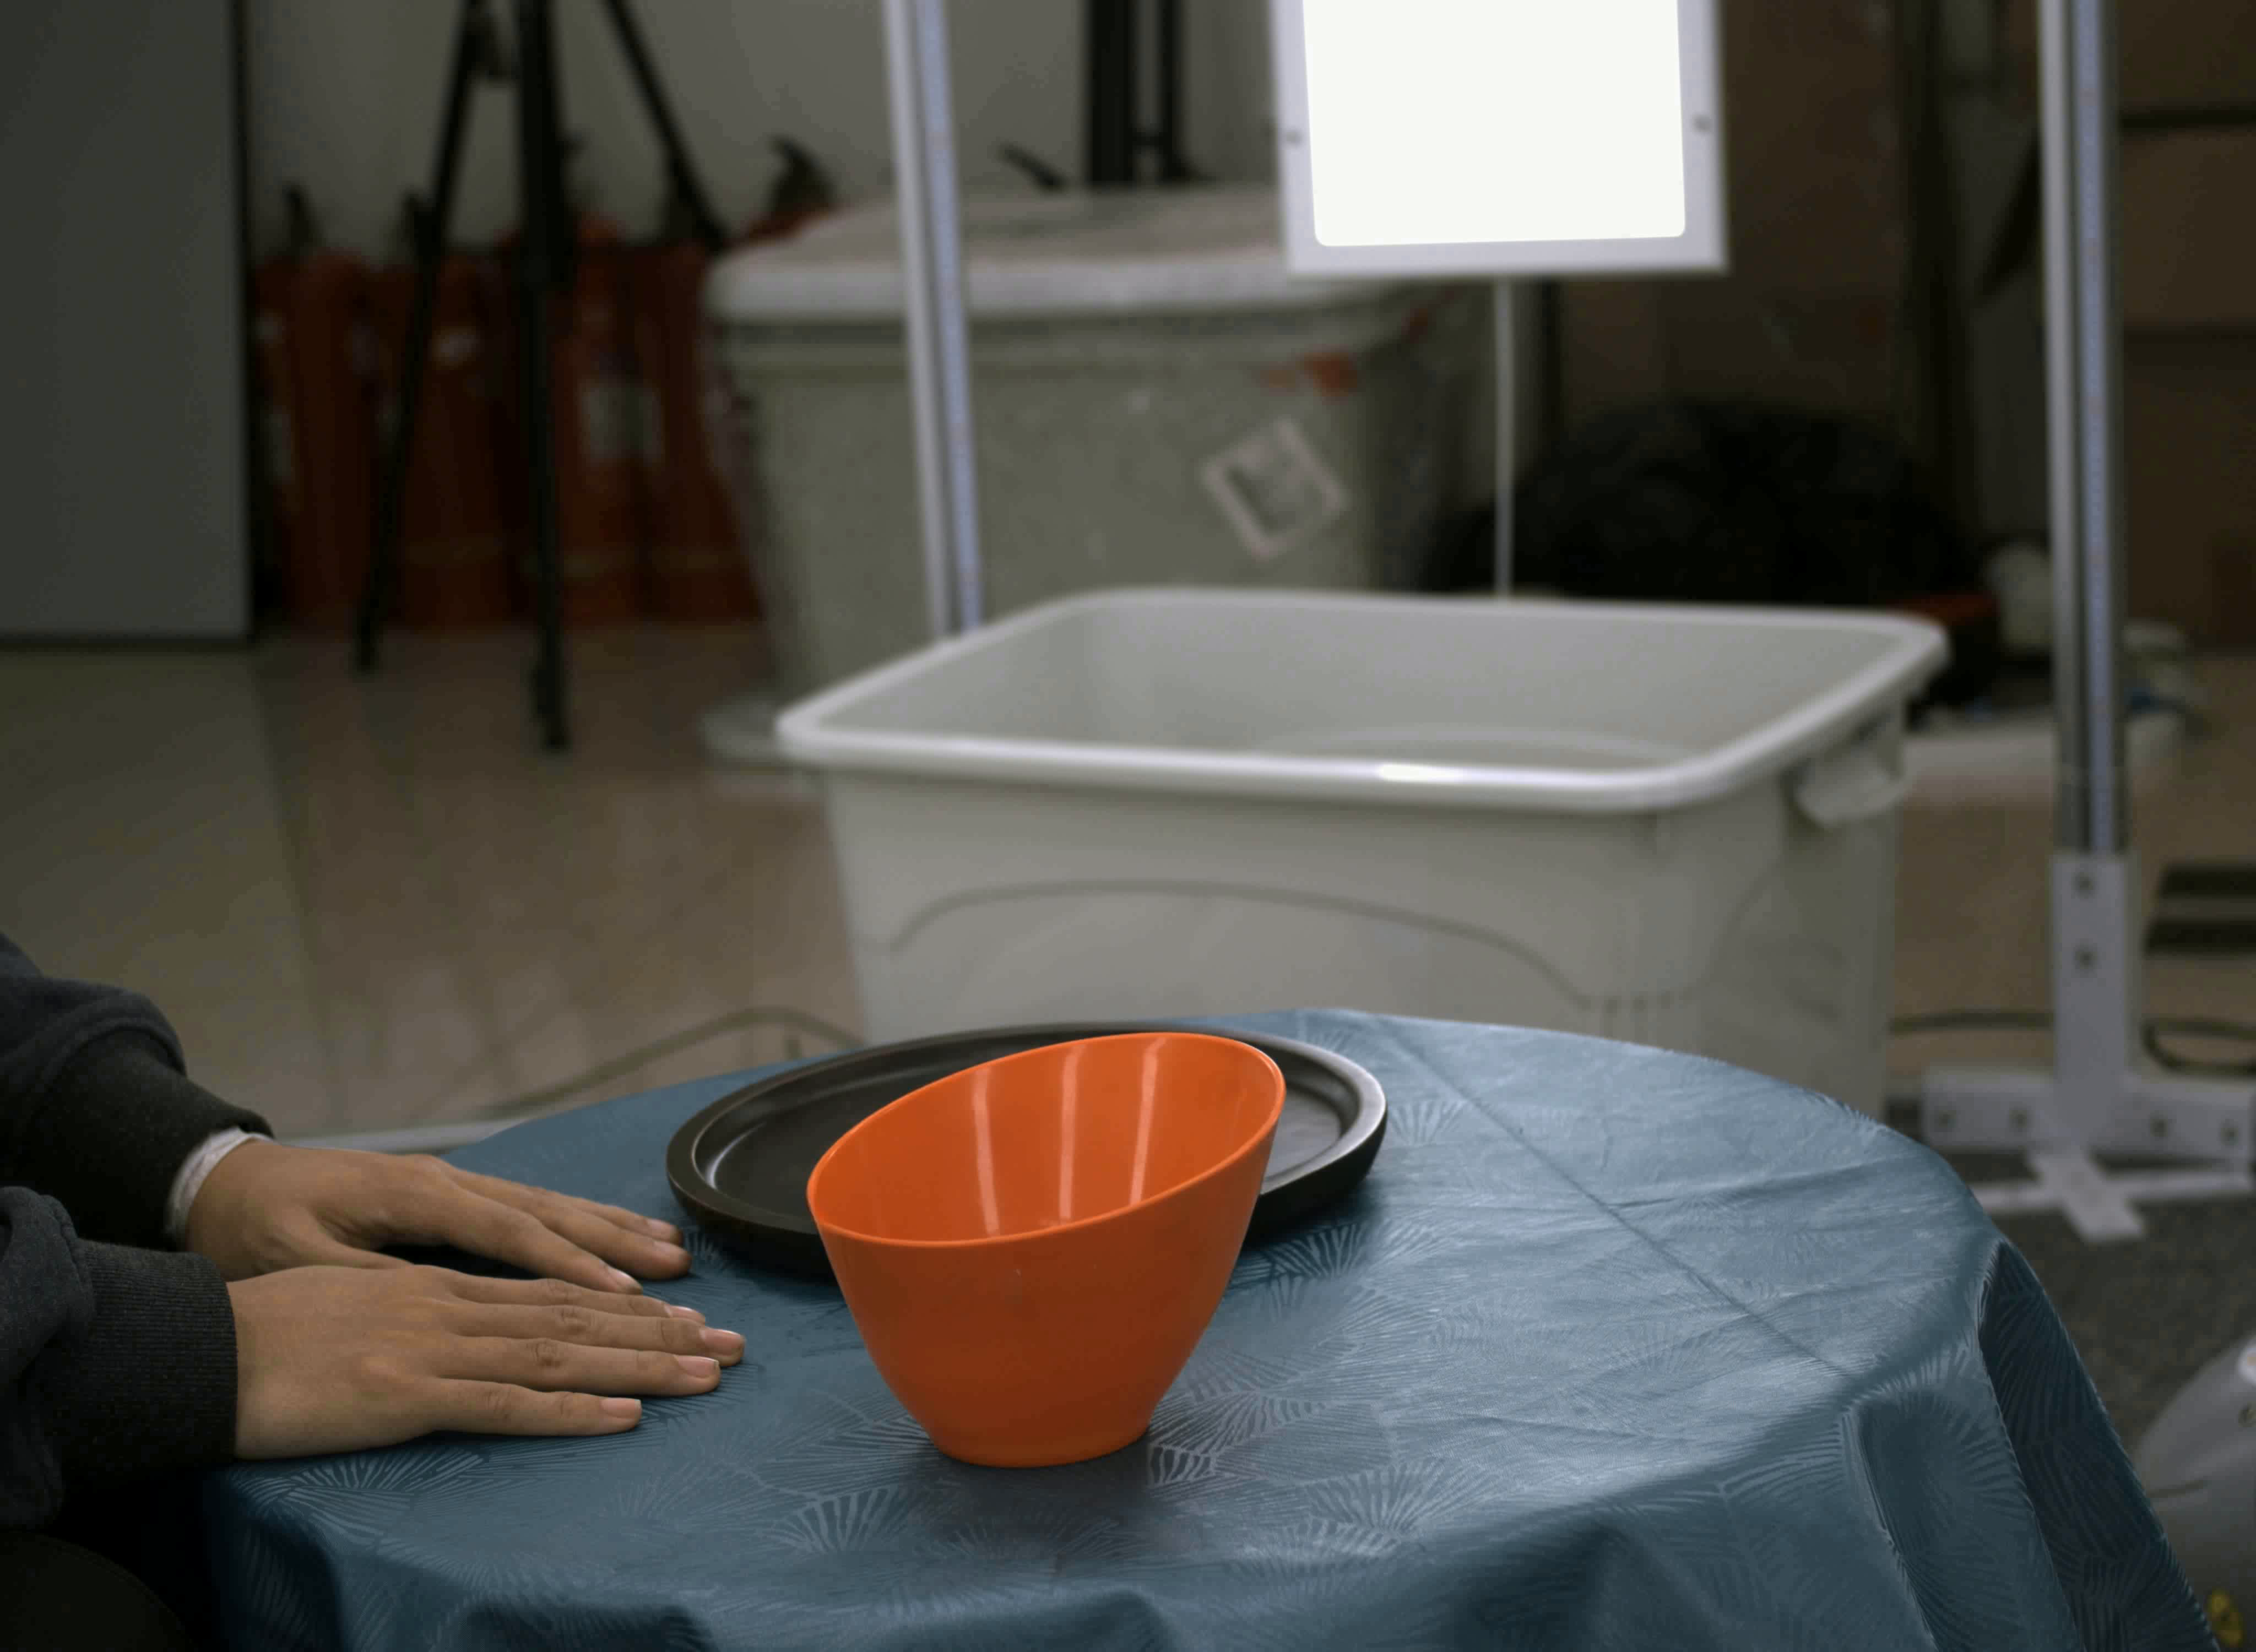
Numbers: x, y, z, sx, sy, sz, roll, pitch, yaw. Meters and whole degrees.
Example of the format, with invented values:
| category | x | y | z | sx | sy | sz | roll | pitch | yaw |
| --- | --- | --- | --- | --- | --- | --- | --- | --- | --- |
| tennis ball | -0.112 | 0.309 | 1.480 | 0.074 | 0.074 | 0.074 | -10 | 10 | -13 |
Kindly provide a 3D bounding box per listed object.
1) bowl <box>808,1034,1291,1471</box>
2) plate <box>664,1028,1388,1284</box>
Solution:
| category | x | y | z | sx | sy | sz | roll | pitch | yaw |
| --- | --- | --- | --- | --- | --- | --- | --- | --- | --- |
| bowl | -0.021 | 0.132 | 1.665 | 0.147 | 0.105 | 0.148 | -4 | 15 | 0 |
| plate | -0.035 | 0.114 | 1.914 | 0.254 | 0.029 | 0.254 | -5 | 15 | 0 |
